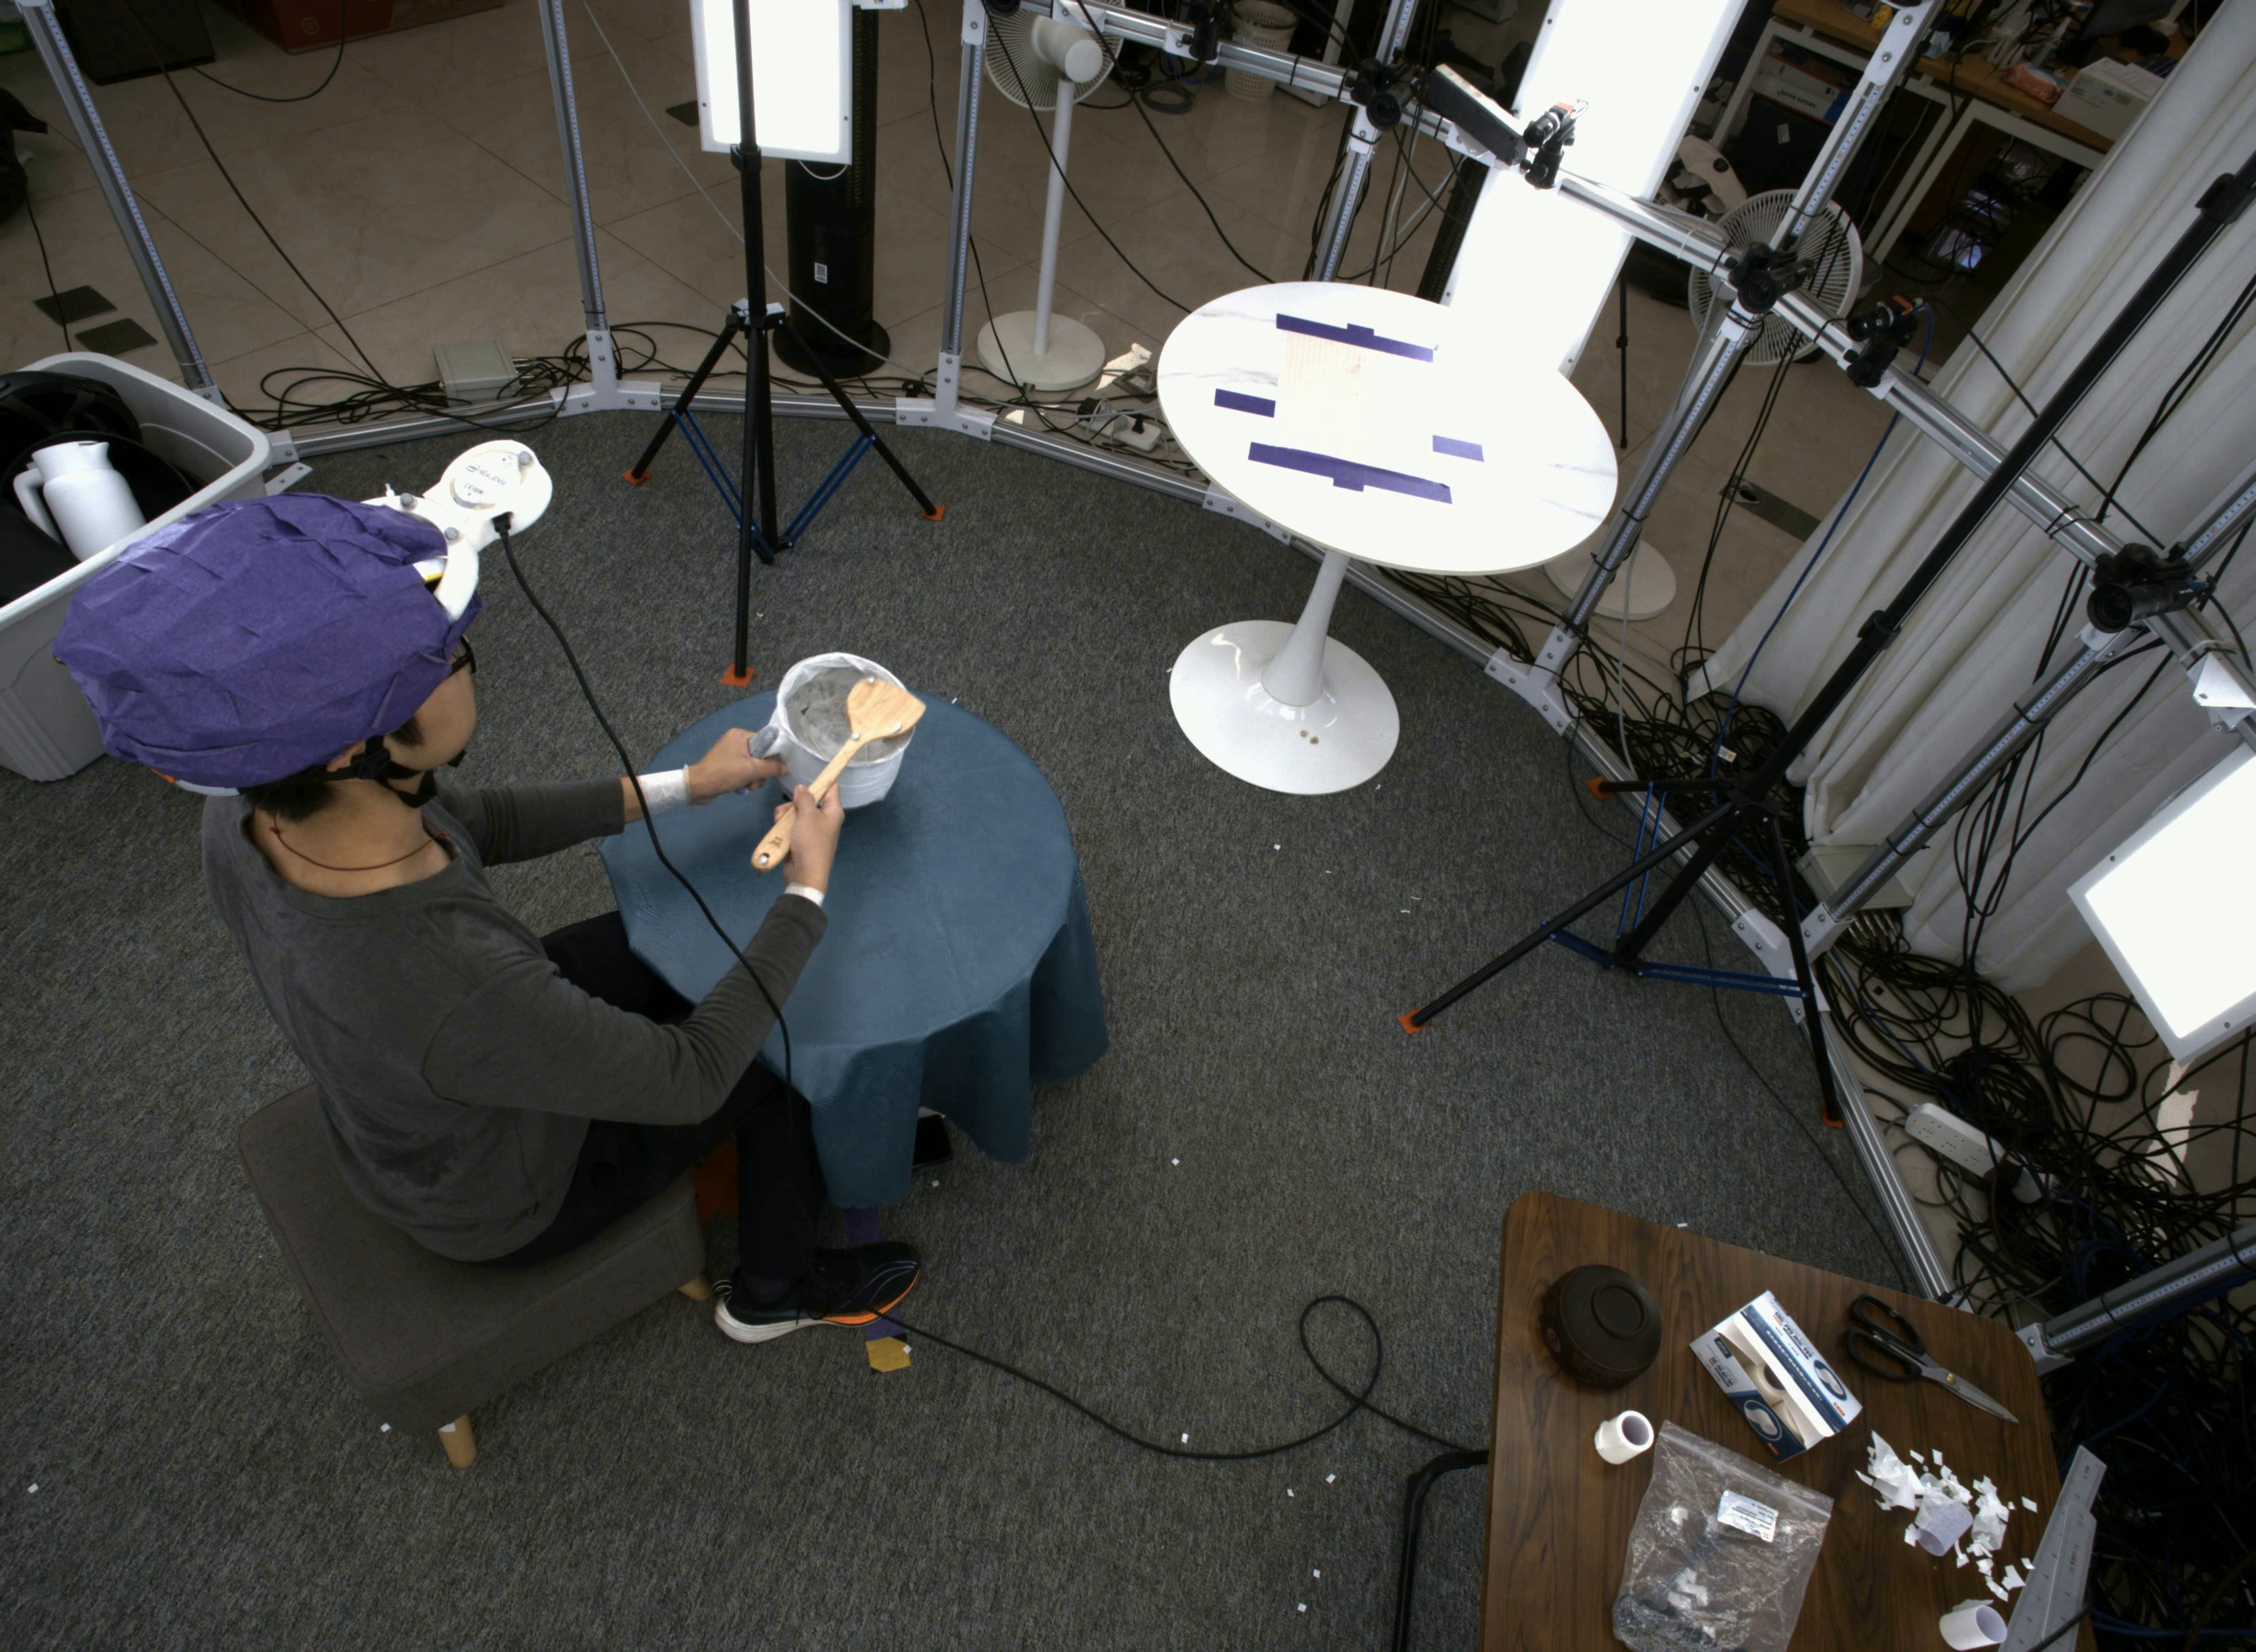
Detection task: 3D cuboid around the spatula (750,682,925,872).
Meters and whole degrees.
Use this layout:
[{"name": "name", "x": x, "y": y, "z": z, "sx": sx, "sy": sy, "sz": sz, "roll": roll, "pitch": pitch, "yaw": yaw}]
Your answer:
[{"name": "spatula", "x": -0.348, "y": -0.063, "z": 1.538, "sx": 0.095, "sy": 0.019, "sz": 0.386, "roll": 25, "pitch": 37, "yaw": -2}]

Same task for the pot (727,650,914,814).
[{"name": "pot", "x": -0.402, "y": -0.109, "z": 1.677, "sx": 0.235, "sy": 0.137, "sz": 0.176, "roll": -23, "pitch": 73, "yaw": -36}]
